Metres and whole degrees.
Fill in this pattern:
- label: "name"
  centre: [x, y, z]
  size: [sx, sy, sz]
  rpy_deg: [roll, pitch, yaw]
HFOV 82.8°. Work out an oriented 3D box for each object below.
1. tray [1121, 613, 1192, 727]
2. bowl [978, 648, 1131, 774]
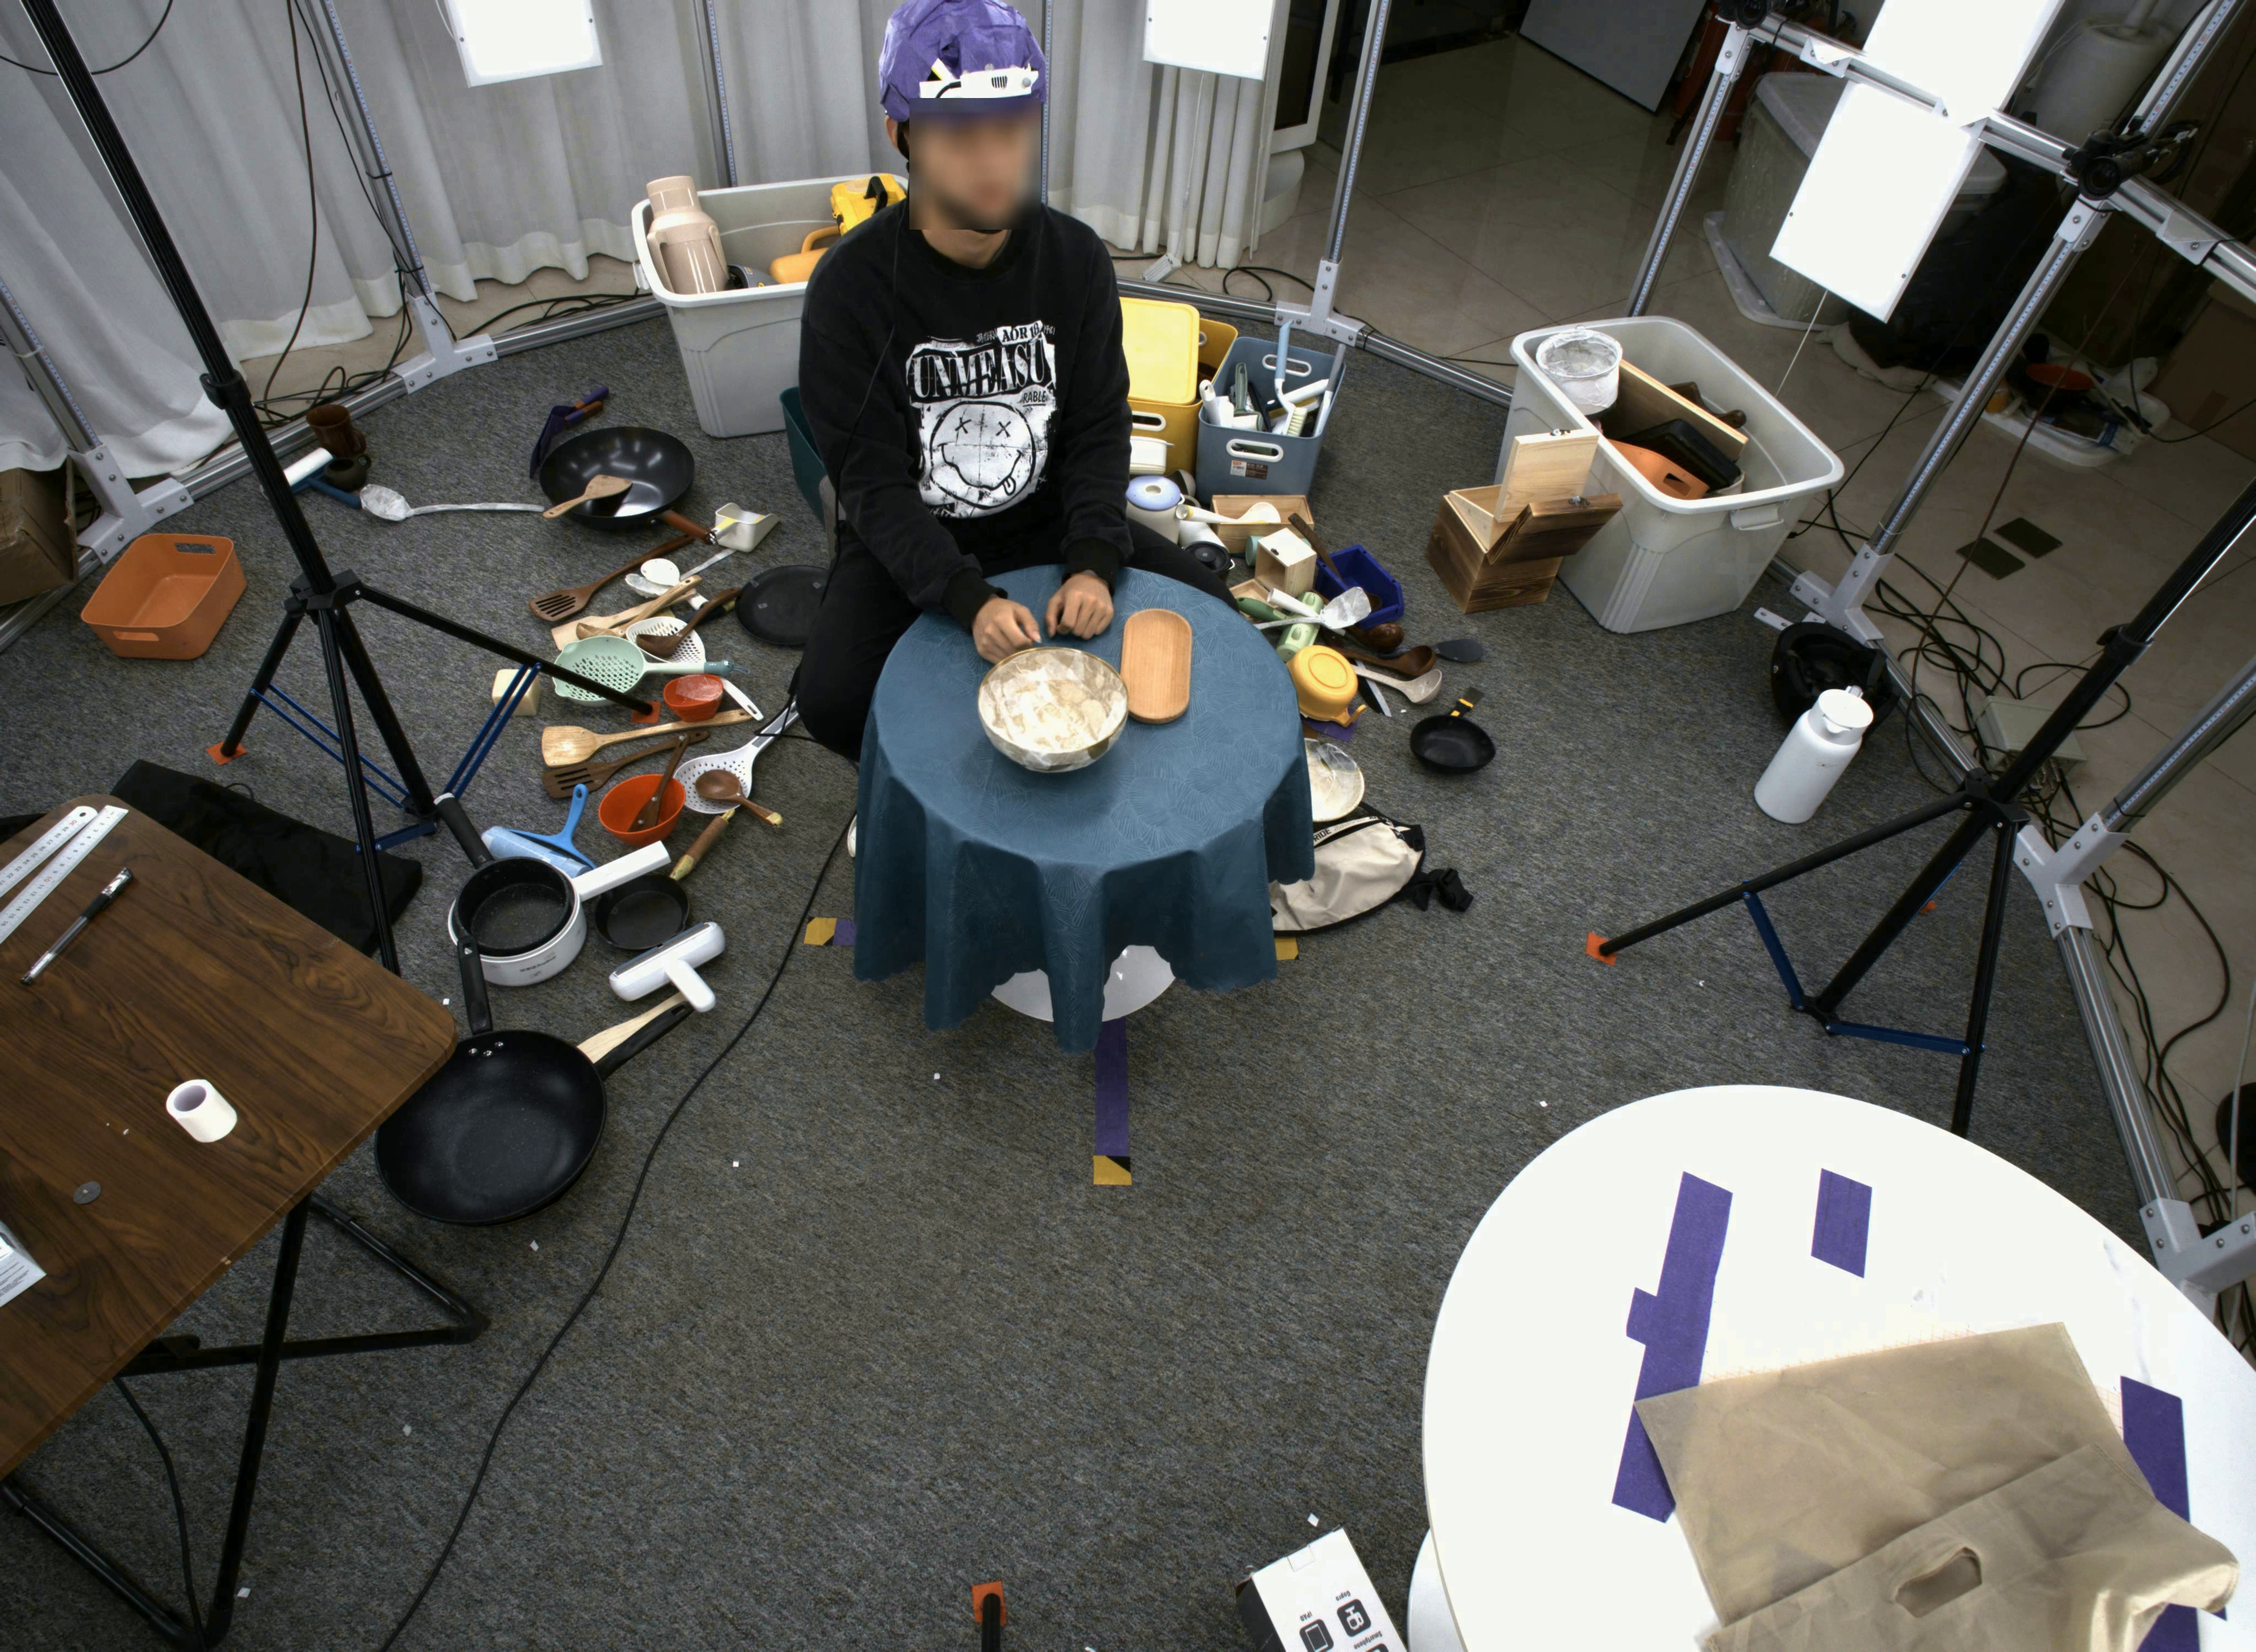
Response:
- label: "tray"
  centre: [0.042, -0.231, 1.878]
  size: [0.101, 0.020, 0.237]
  rpy_deg: [2, 50, 1]
- label: "bowl"
  centre: [-0.097, -0.143, 1.741]
  size: [0.214, 0.092, 0.220]
  rpy_deg: [1, 49, -1]
